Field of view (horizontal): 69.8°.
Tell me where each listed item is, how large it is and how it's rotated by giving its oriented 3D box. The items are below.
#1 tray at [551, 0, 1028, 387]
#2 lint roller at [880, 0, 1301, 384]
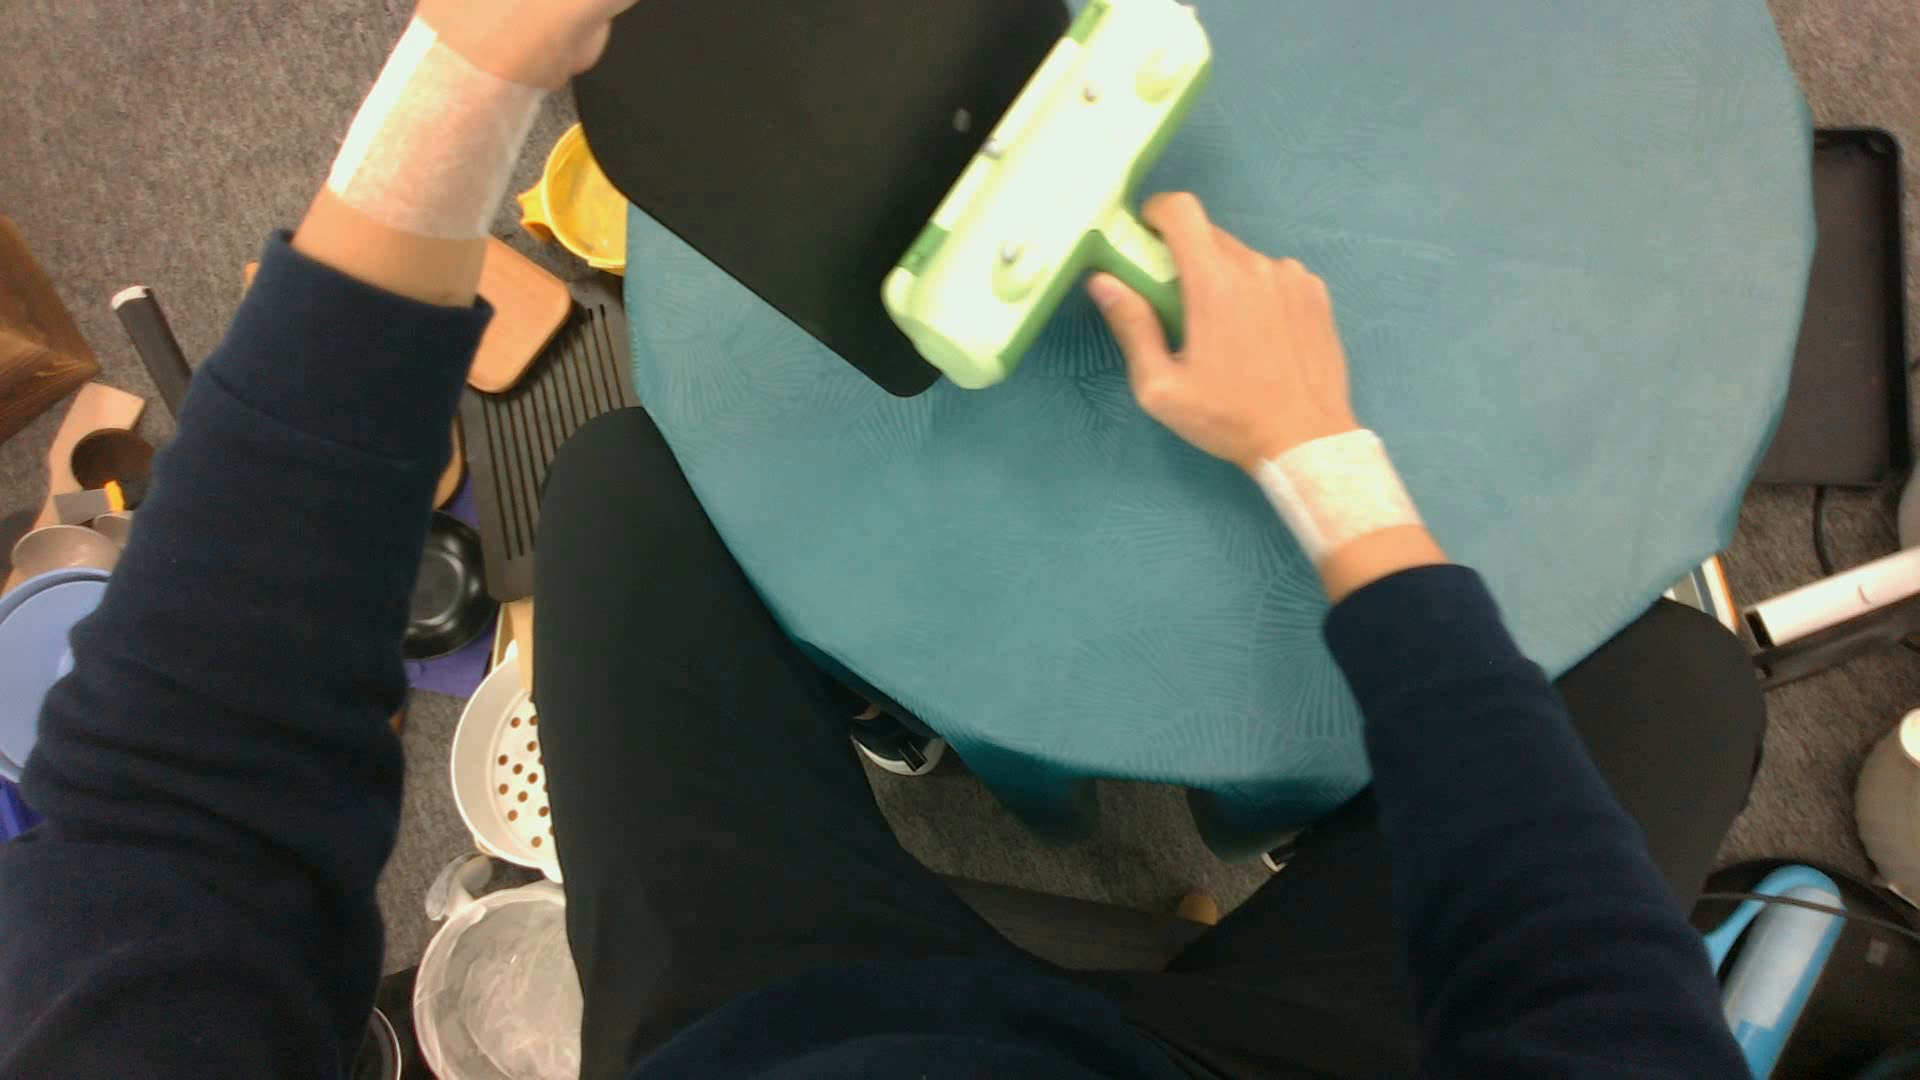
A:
[{"bbox_3d":[-0.049,-0.196,0.563,0.010,0.325,0.211,19,87,23],"label":"tray"},{"bbox_3d":[0.088,-0.134,0.617,0.183,0.082,0.199,33,75,-3],"label":"lint roller"}]
